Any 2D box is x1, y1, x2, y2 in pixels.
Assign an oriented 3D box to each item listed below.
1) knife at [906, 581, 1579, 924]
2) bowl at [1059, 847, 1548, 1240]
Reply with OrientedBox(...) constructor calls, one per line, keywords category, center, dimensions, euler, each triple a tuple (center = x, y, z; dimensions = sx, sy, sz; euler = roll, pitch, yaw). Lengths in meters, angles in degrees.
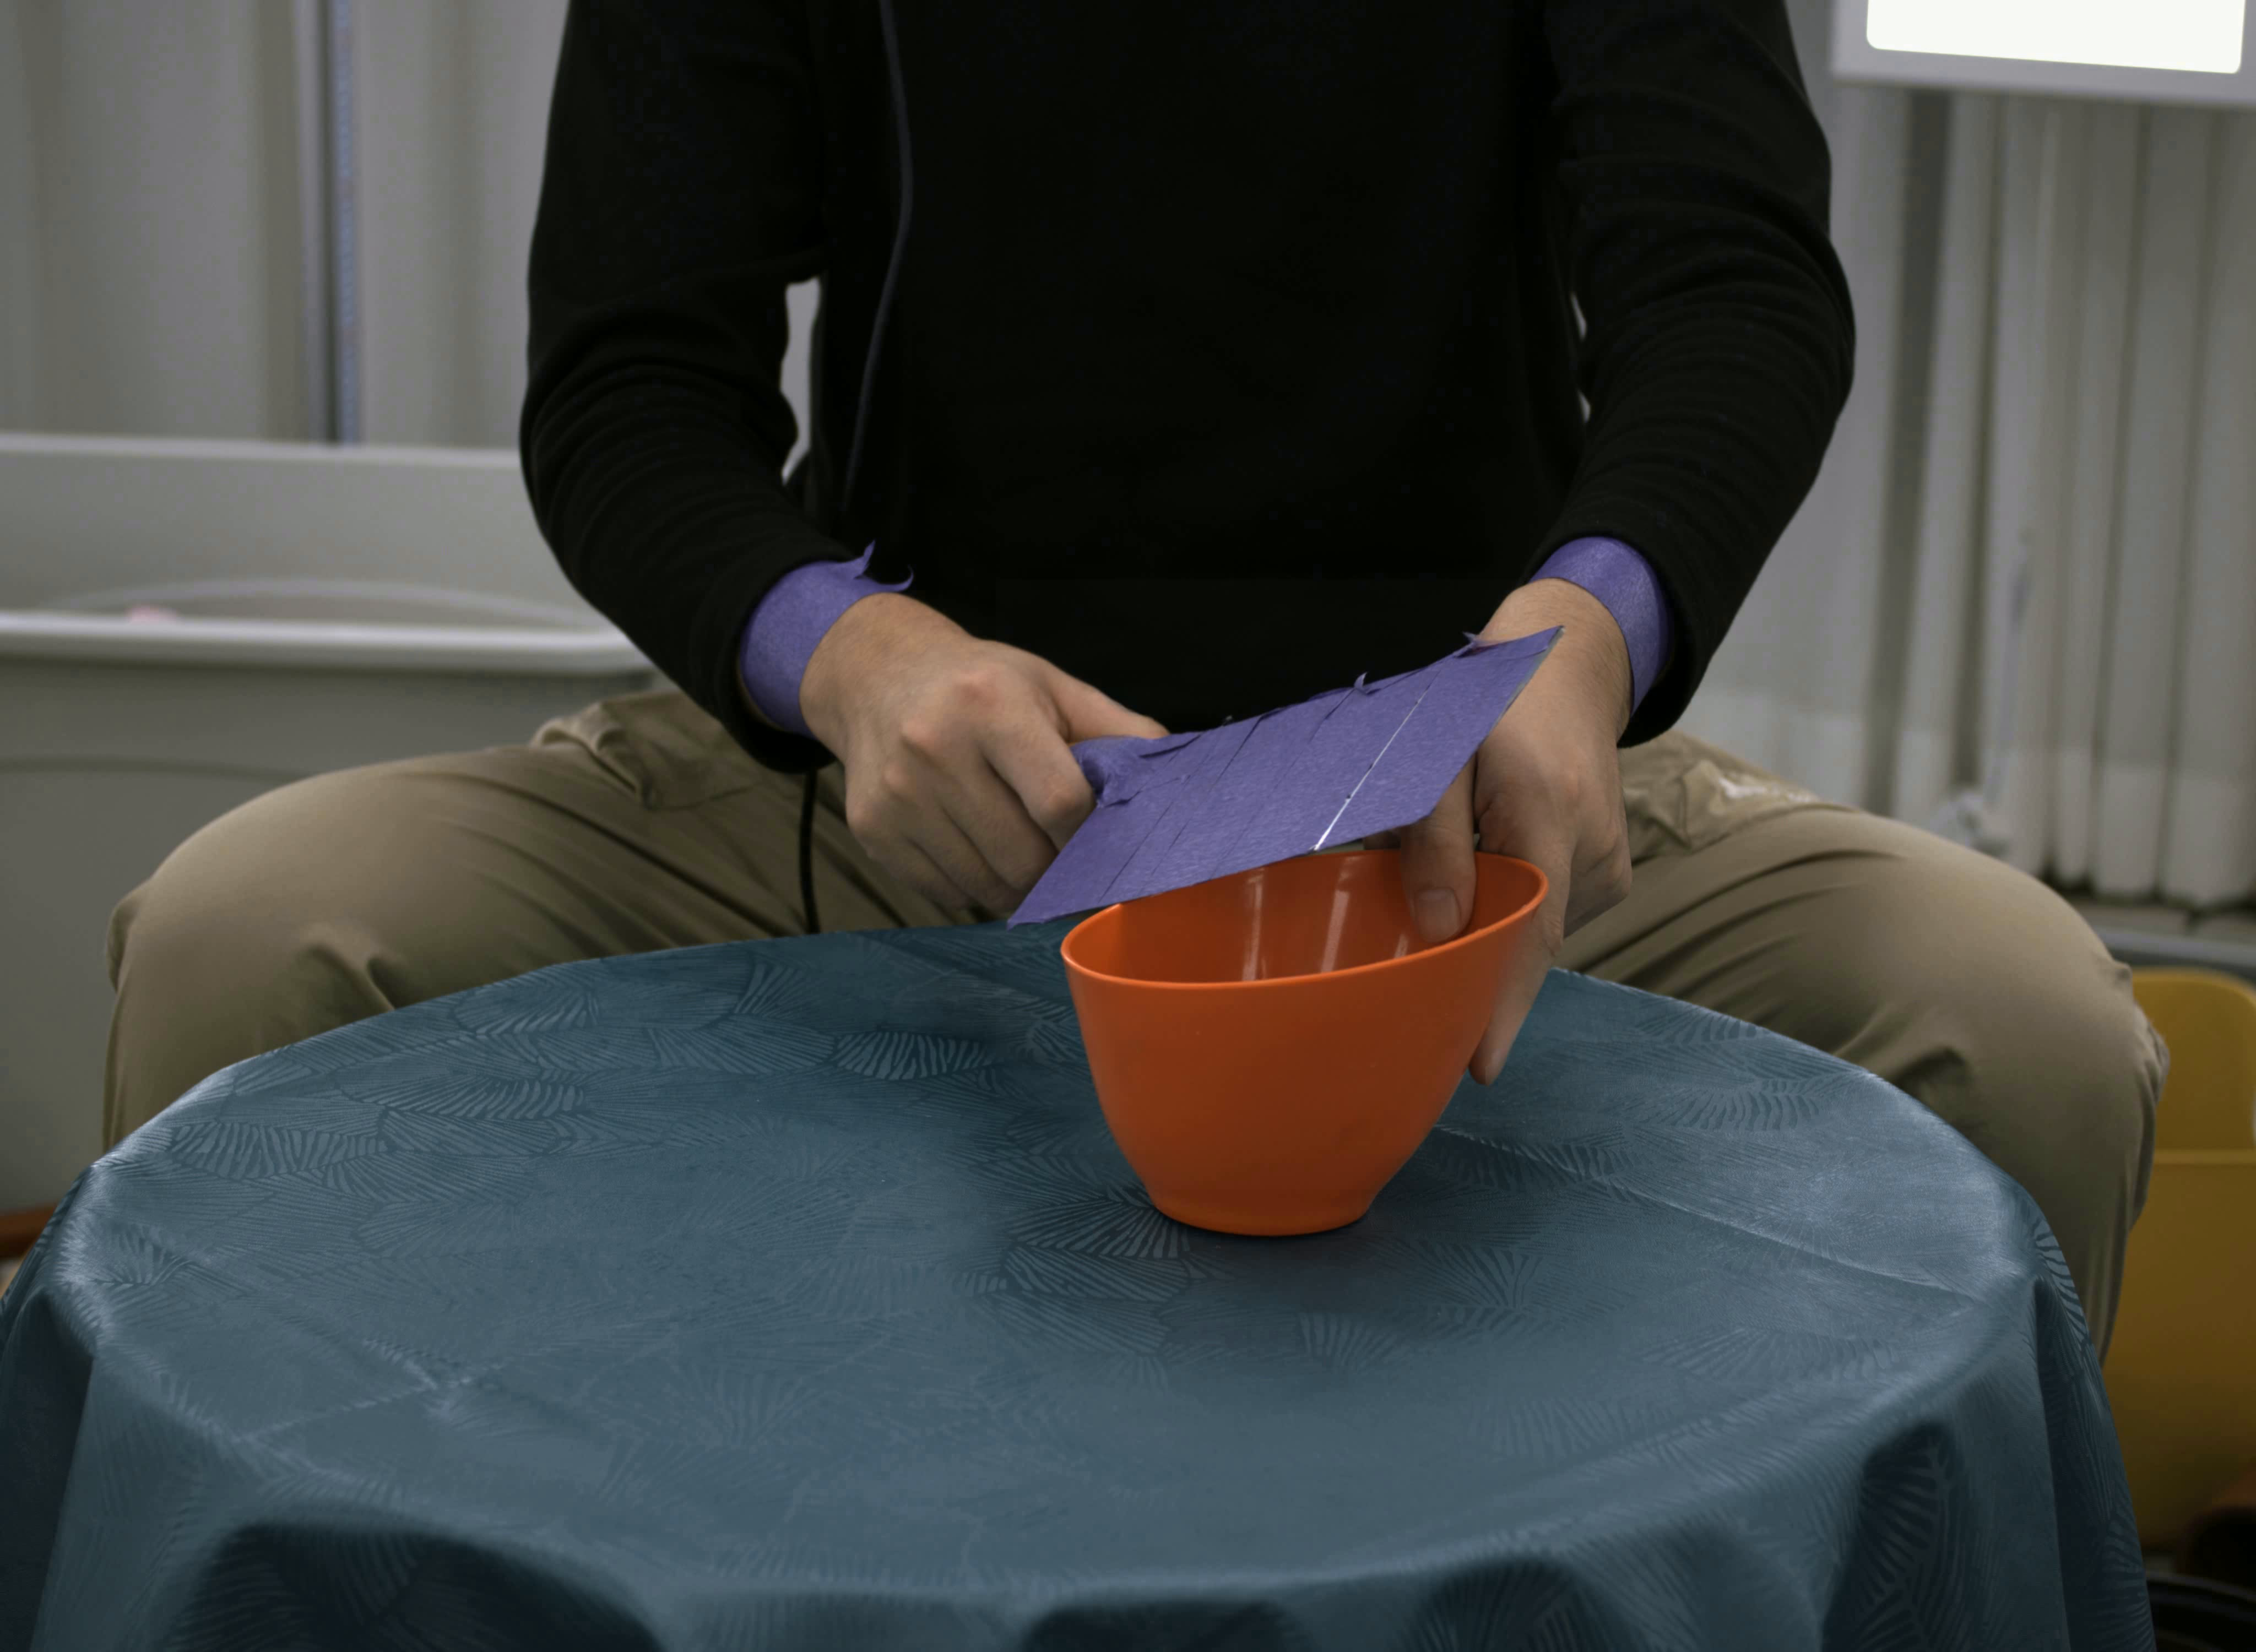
OrientedBox(category="knife", center=(0.014, -0.011, 1.666), dimensions=(0.313, 0.032, 0.103), euler=(-19, 26, 50))
OrientedBox(category="bowl", center=(0.052, 0.066, 1.595), dimensions=(0.147, 0.105, 0.147), euler=(1, 16, 0))
